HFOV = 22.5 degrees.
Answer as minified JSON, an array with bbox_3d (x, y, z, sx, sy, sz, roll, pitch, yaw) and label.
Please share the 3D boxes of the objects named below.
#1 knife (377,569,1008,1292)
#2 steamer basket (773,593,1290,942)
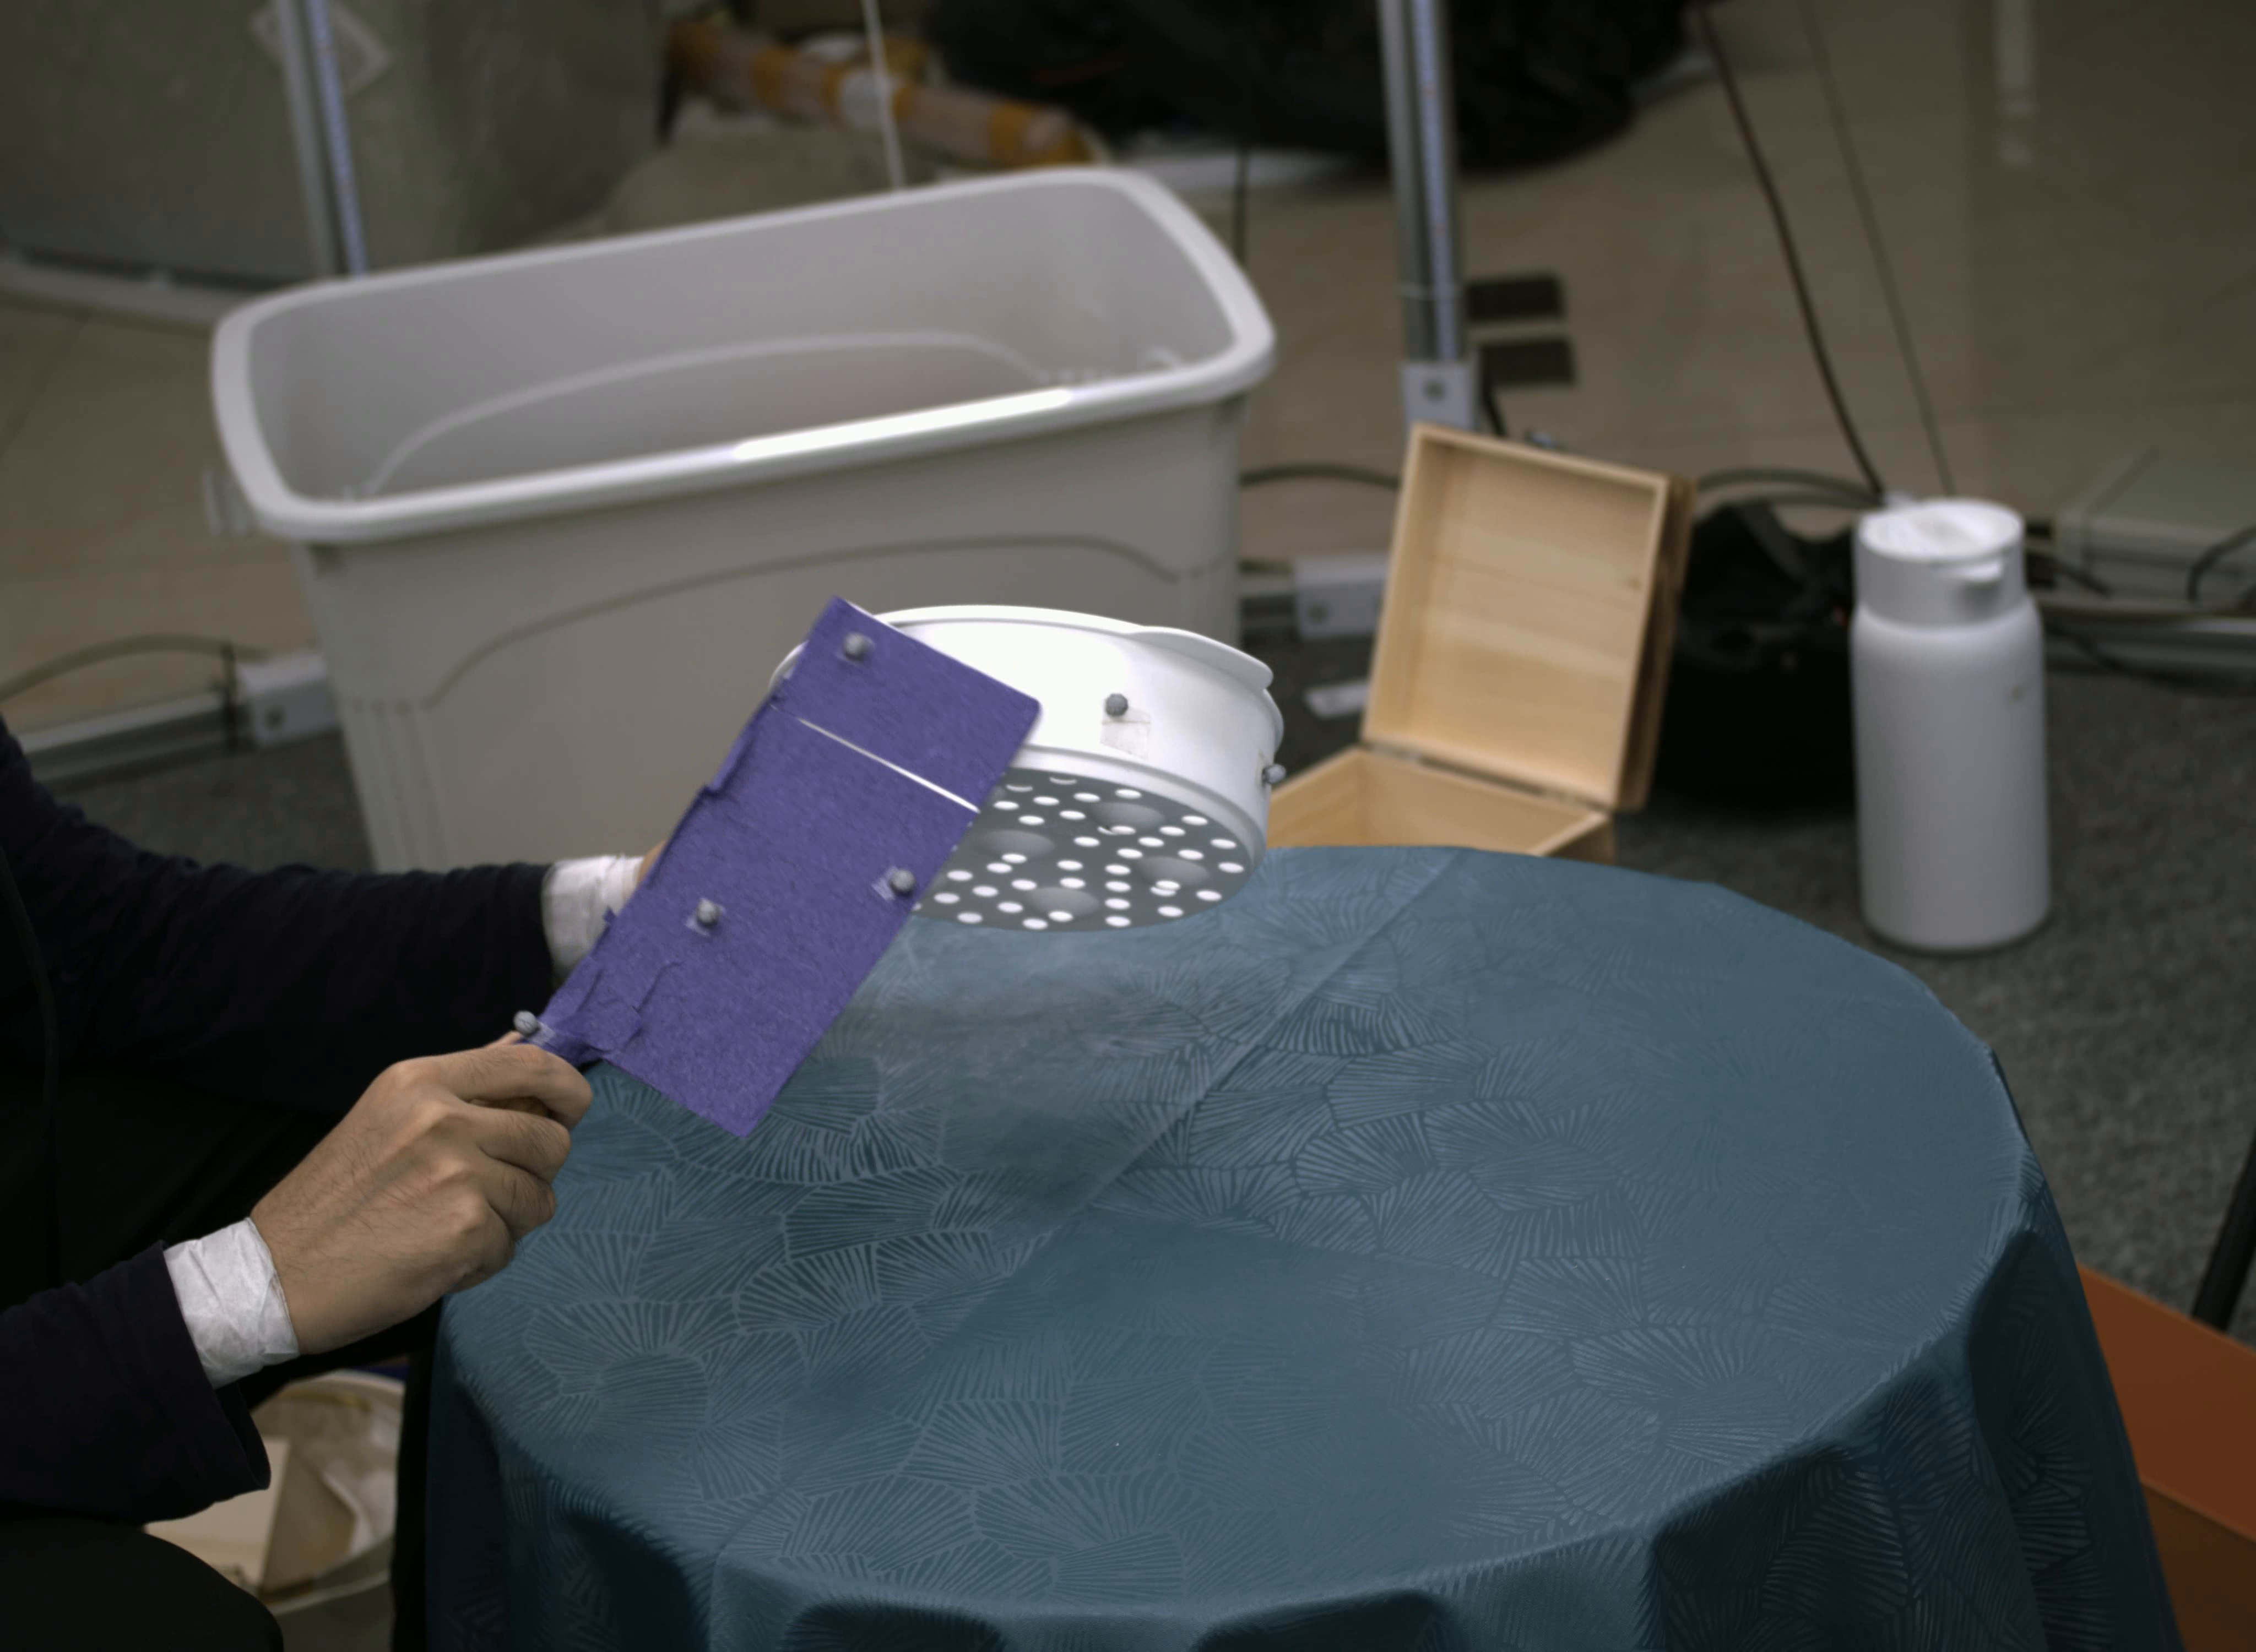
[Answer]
[{"bbox_3d":[-0.151,0.047,2.045,0.103,0.032,0.312,28,70,10],"label":"knife"},{"bbox_3d":[-0.039,-0.018,2.188,0.203,0.068,0.232,22,-30,-38],"label":"steamer basket"}]
